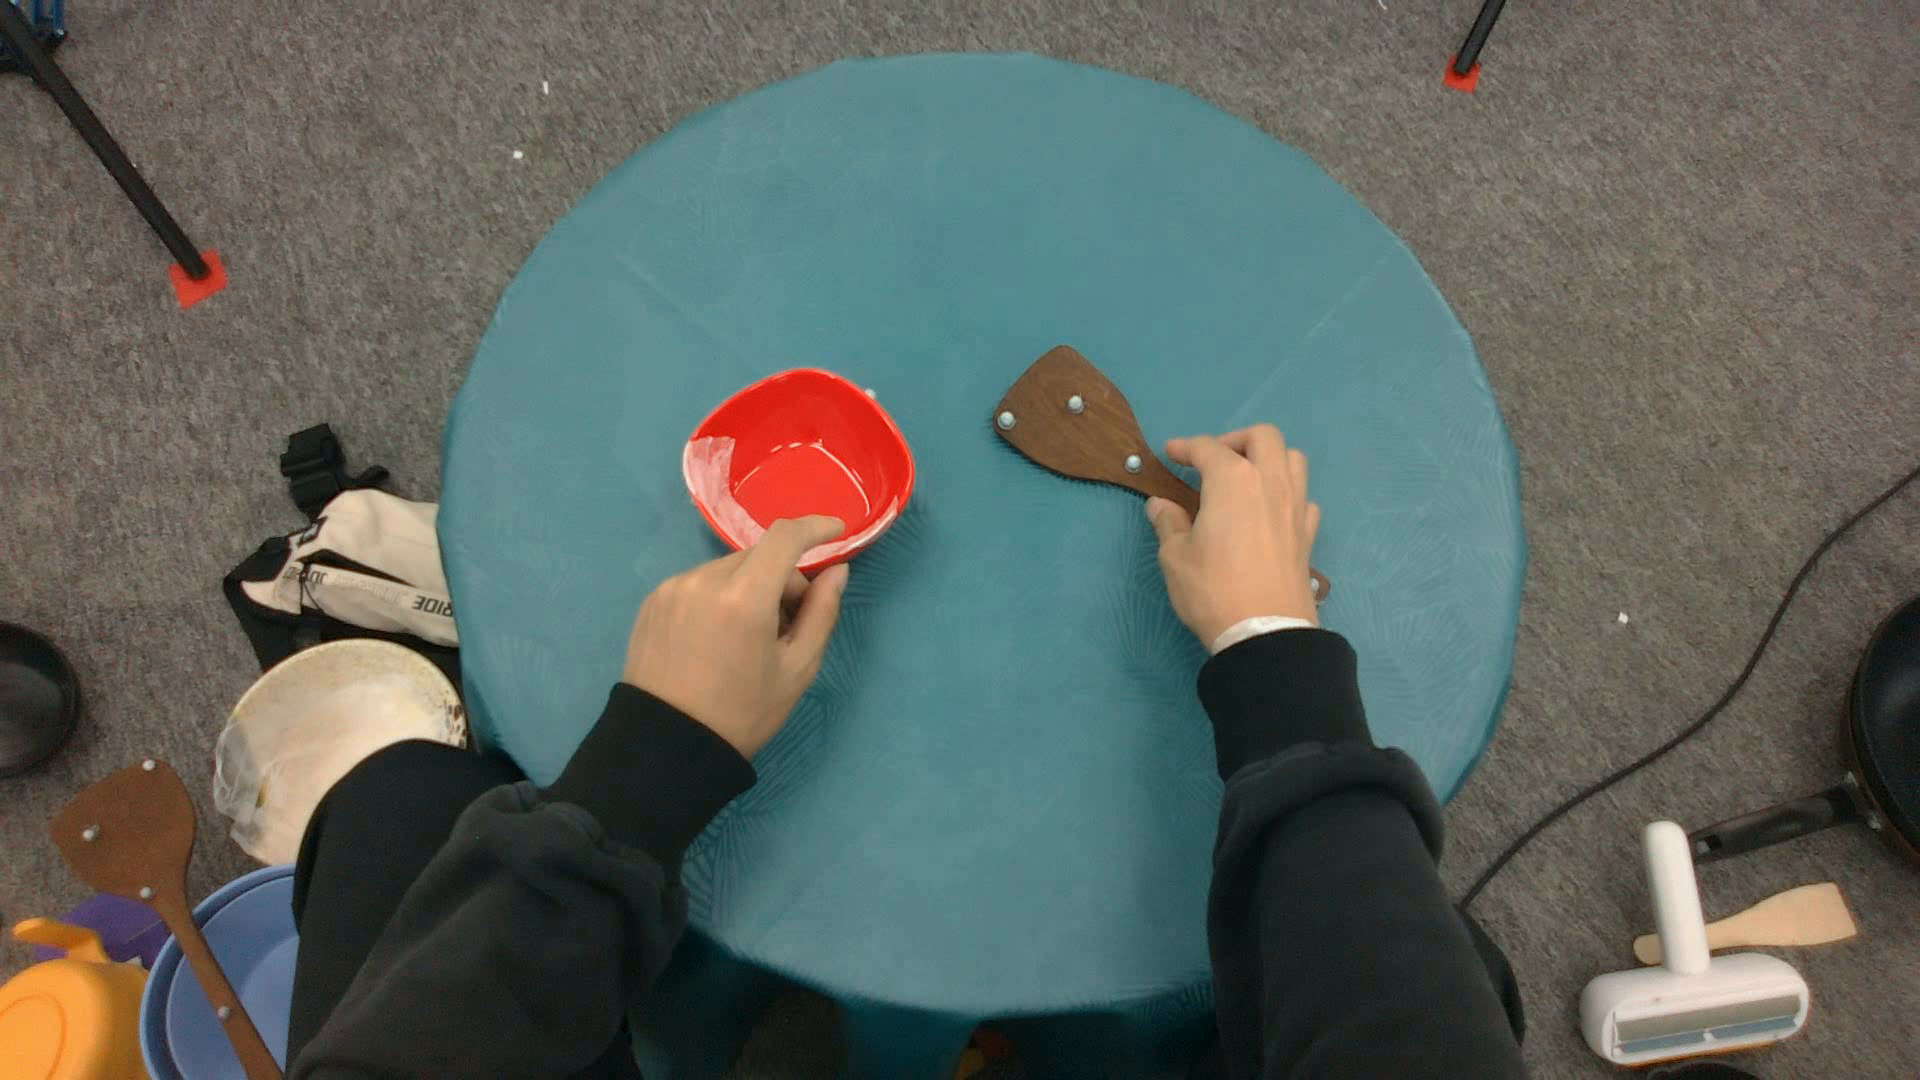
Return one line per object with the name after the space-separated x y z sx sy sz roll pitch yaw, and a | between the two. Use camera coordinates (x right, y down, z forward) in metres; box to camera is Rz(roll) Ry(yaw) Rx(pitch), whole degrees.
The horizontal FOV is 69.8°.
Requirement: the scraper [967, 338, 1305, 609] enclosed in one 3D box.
0.101 -0.033 0.768 0.211 0.011 0.076 38 67 12 | scraper

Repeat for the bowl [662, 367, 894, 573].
-0.096 -0.029 0.727 0.119 0.051 0.119 4 60 -7 | bowl
